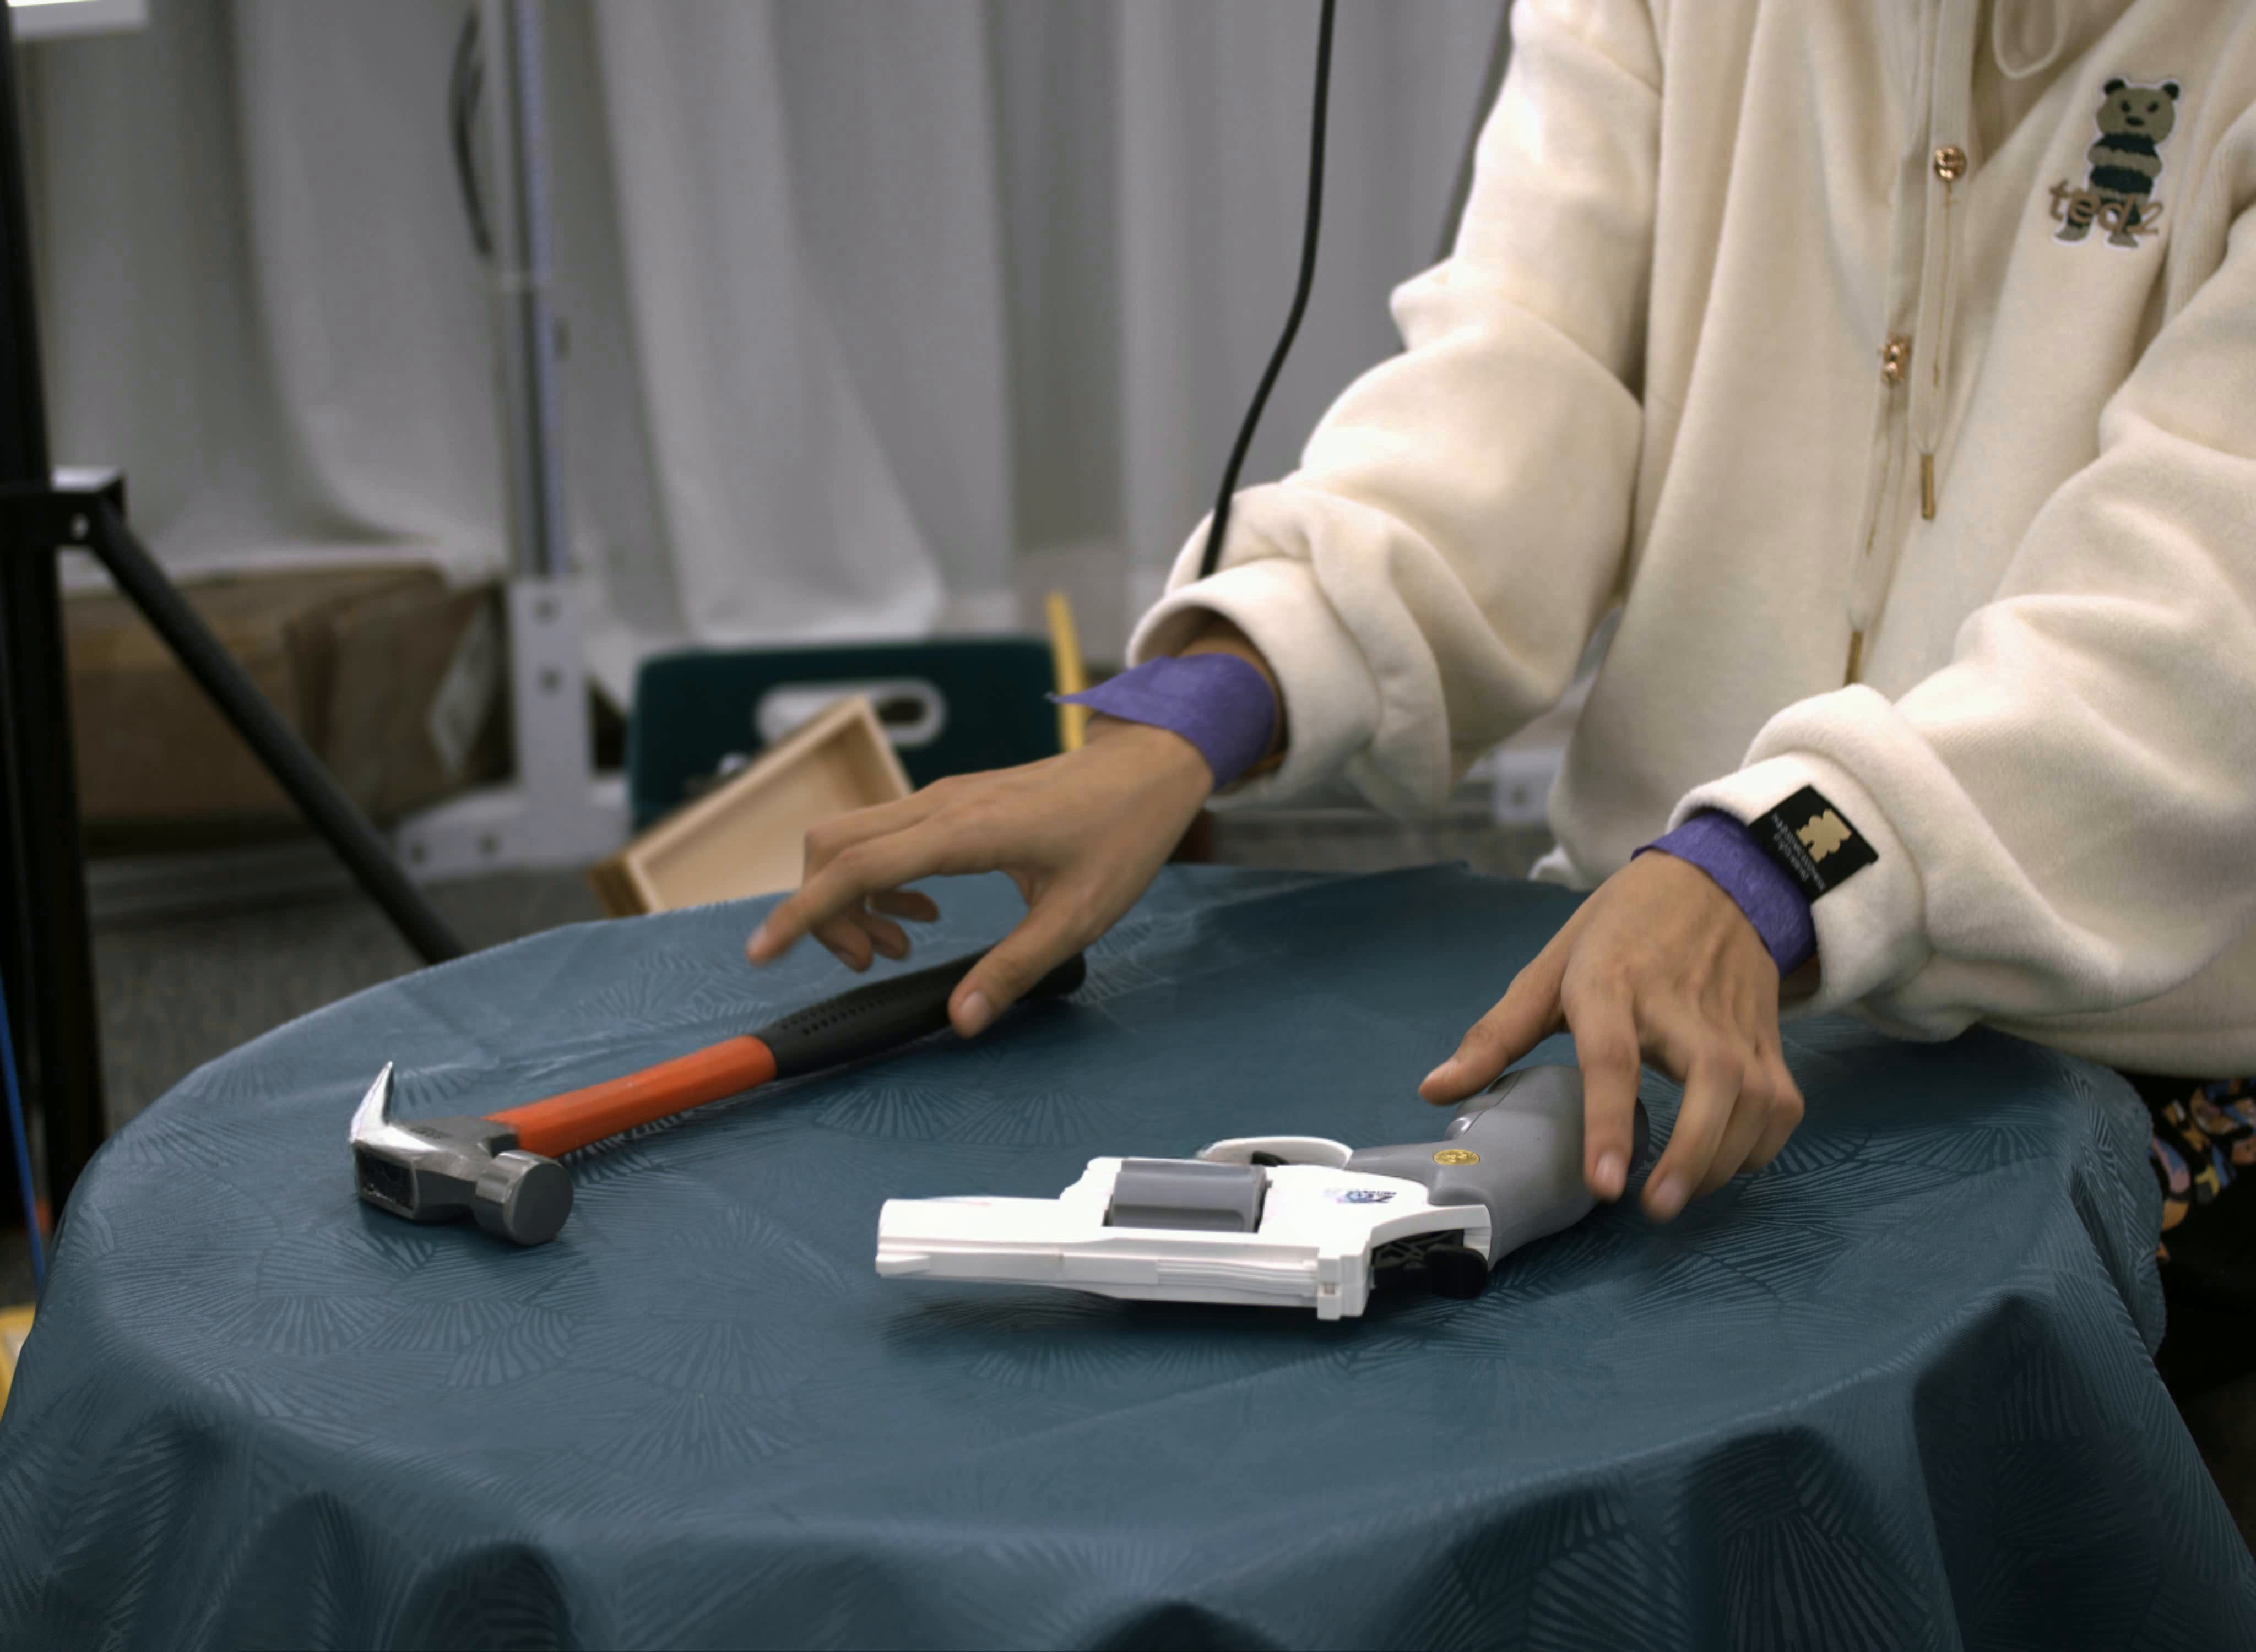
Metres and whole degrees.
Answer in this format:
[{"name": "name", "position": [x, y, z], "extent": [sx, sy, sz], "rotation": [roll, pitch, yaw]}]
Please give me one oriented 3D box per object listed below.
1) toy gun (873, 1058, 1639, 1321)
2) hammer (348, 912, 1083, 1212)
[{"name": "toy gun", "position": [0.039, 0.103, 1.494], "extent": [0.209, 0.039, 0.141], "rotation": [1, 18, 7]}, {"name": "hammer", "position": [-0.121, 0.070, 1.655], "extent": [0.271, 0.026, 0.113], "rotation": [-17, 13, -41]}]
